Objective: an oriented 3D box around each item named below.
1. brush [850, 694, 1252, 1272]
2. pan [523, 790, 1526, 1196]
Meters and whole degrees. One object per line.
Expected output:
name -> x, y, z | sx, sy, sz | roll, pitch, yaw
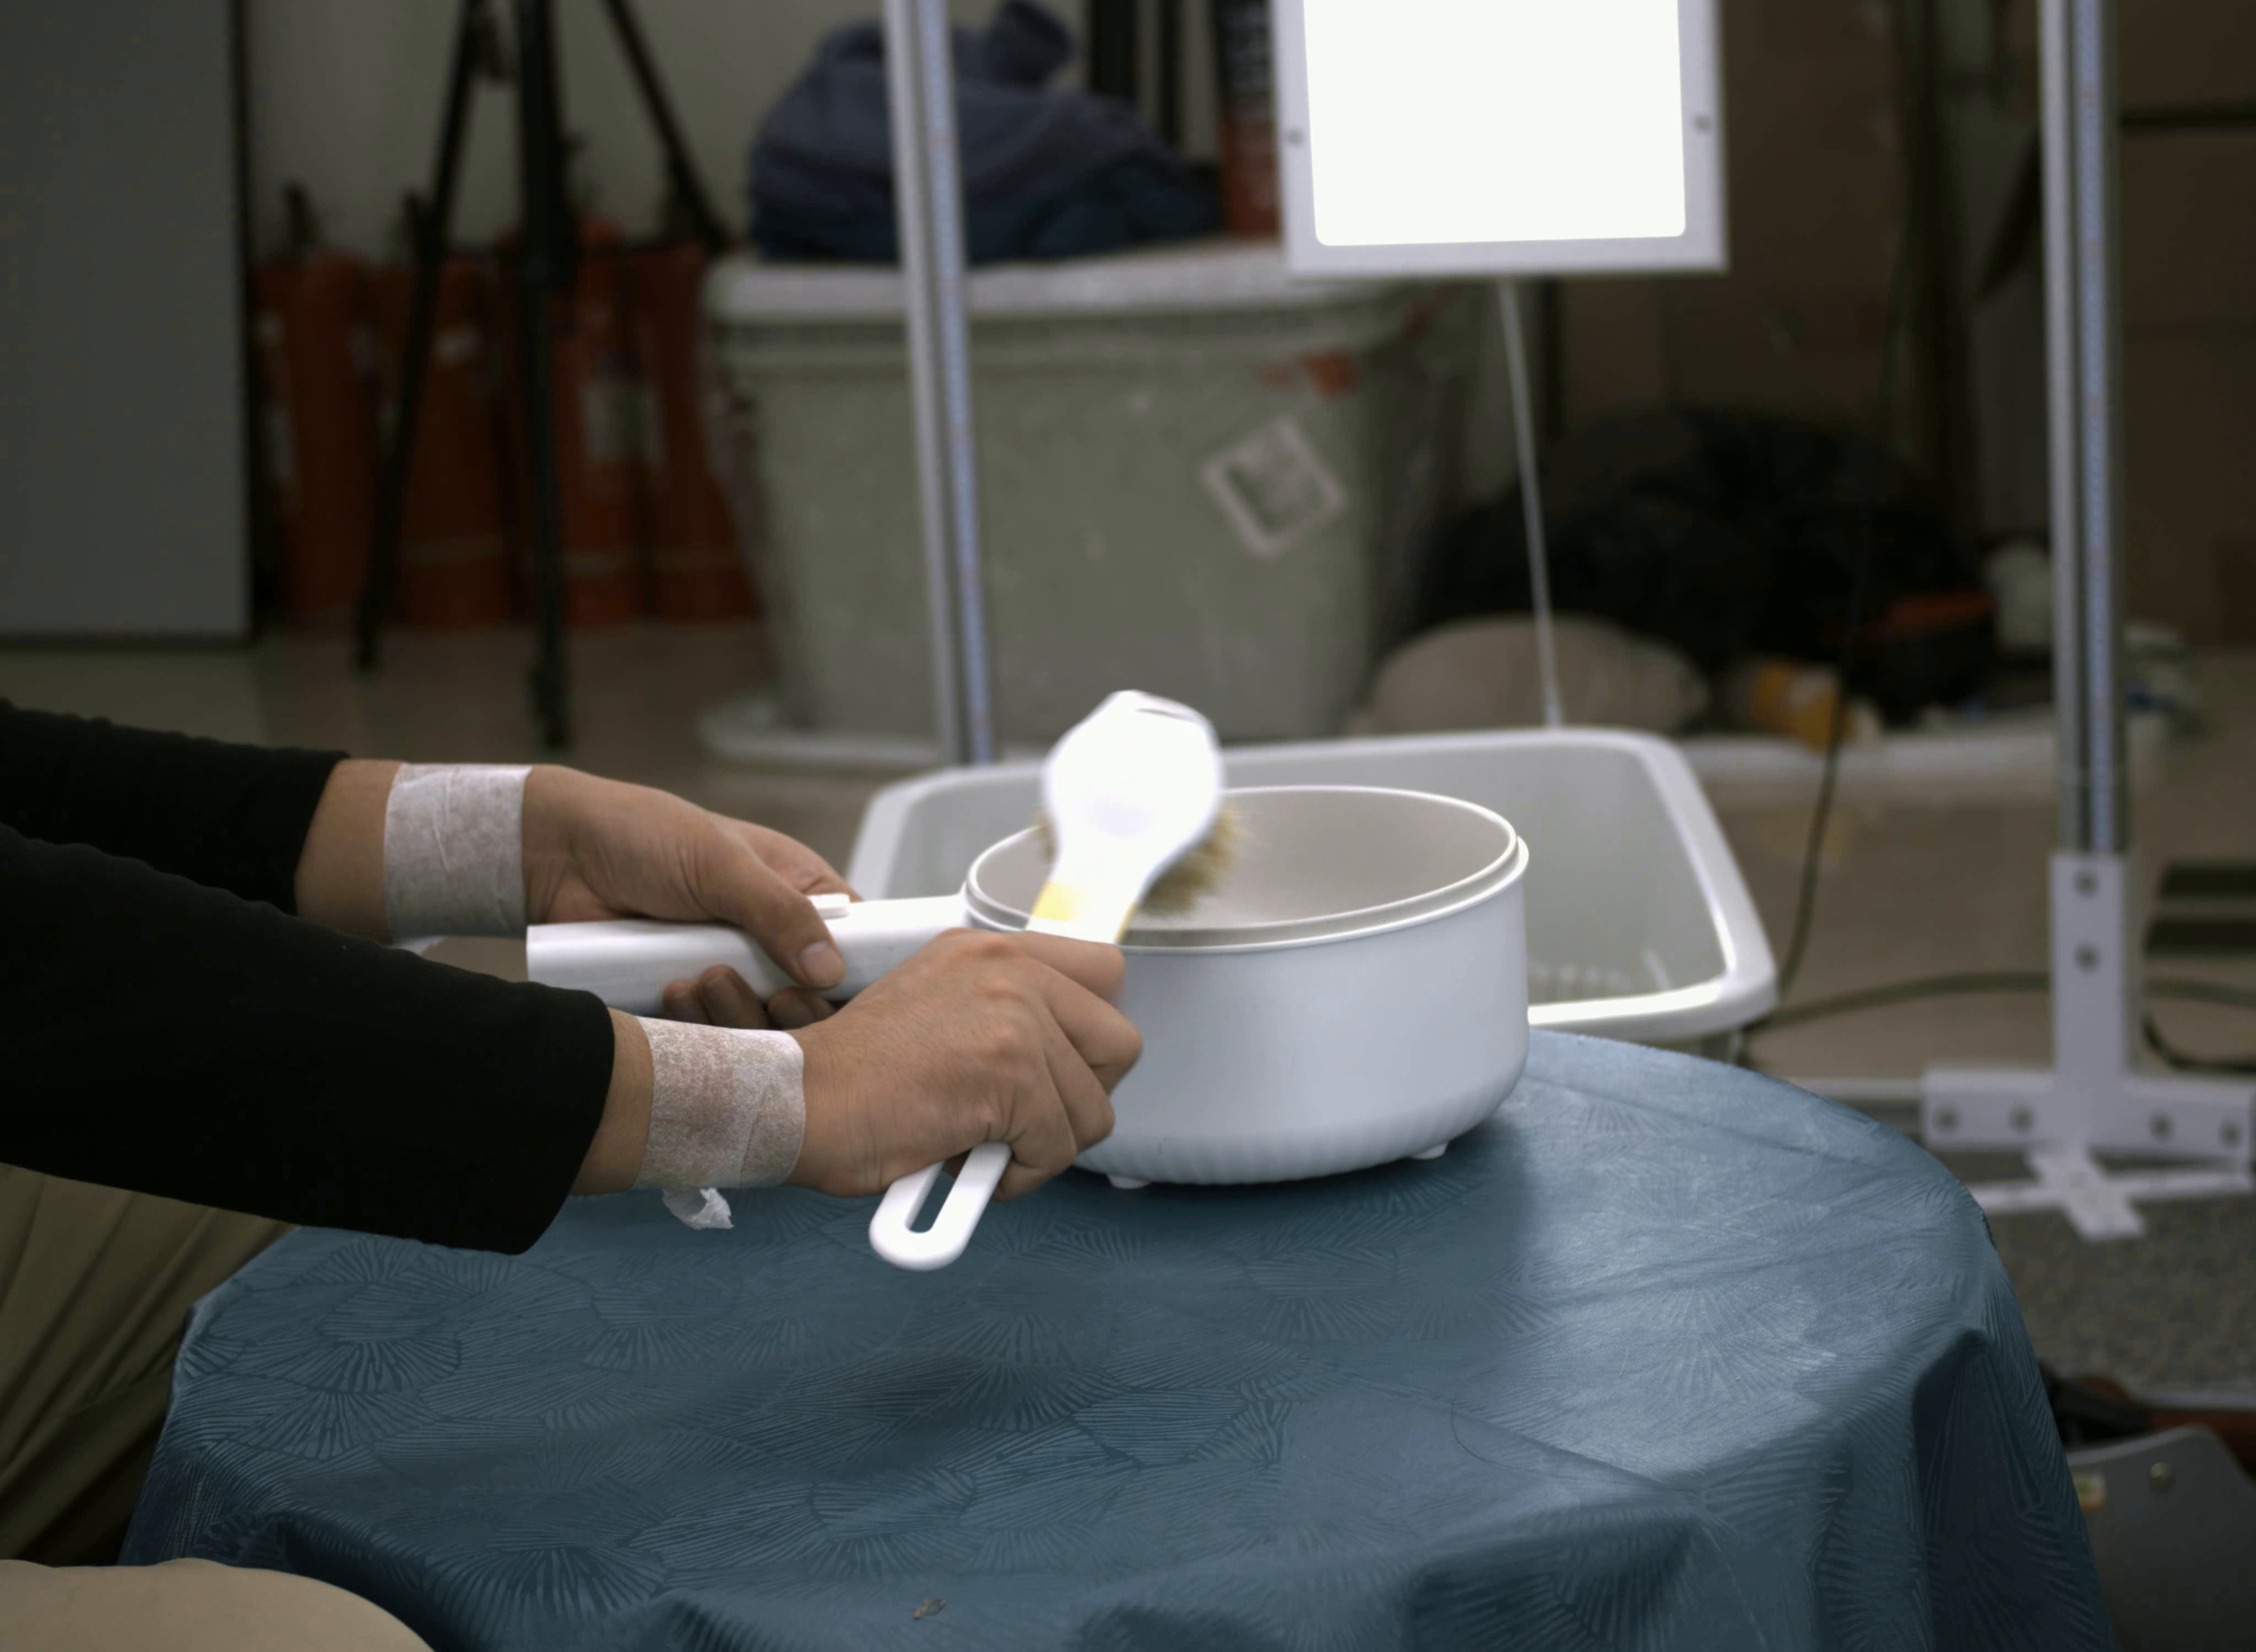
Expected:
brush -> -0.029, 0.060, 1.752 | 0.069, 0.056, 0.263 | 10, 47, 18
pan -> -0.033, 0.069, 1.945 | 0.353, 0.102, 0.201 | -6, 15, -1
